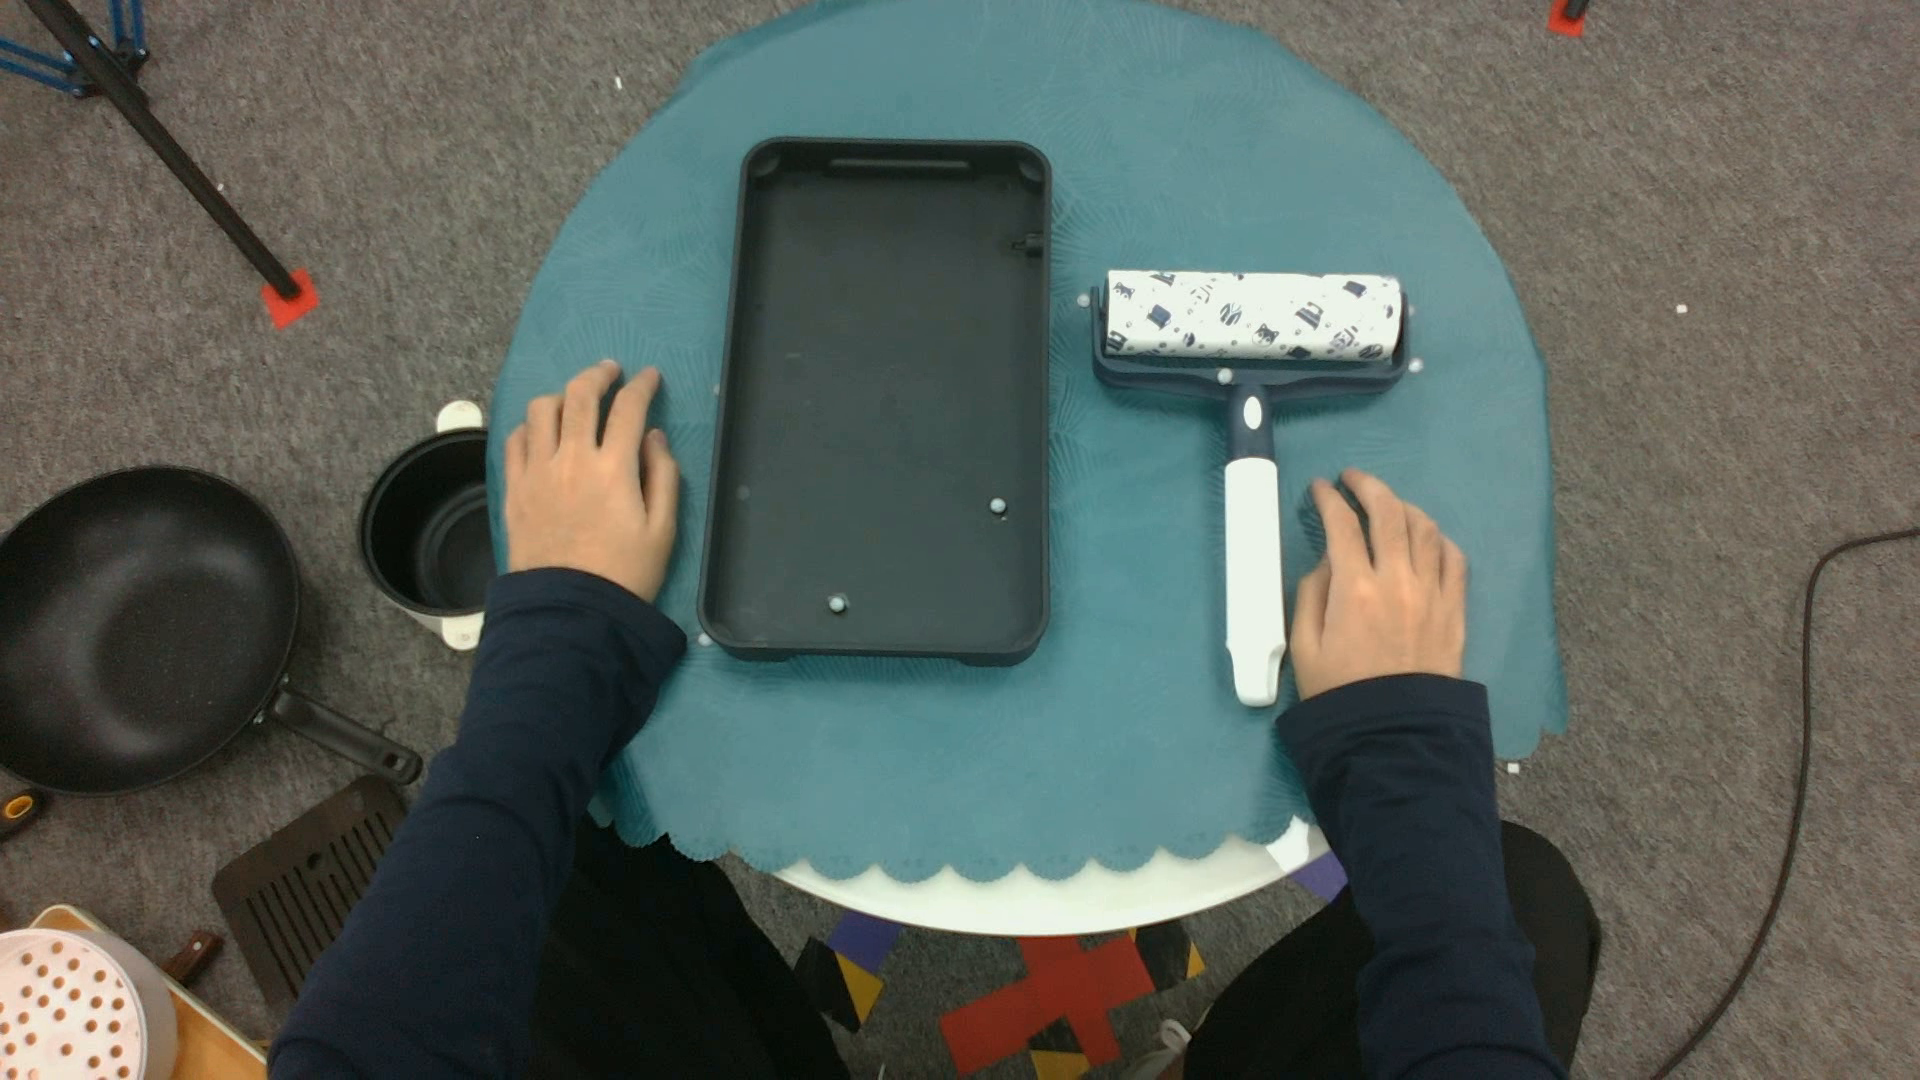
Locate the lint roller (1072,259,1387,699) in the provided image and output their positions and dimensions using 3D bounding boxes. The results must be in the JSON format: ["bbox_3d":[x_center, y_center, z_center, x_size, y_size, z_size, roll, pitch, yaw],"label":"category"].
[{"bbox_3d":[0.150,-0.038,0.751,0.176,0.050,0.248,1,72,-1],"label":"lint roller"}]

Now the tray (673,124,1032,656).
[{"bbox_3d":[-0.053,-0.091,0.772,0.184,0.037,0.319,1,69,1],"label":"tray"}]
